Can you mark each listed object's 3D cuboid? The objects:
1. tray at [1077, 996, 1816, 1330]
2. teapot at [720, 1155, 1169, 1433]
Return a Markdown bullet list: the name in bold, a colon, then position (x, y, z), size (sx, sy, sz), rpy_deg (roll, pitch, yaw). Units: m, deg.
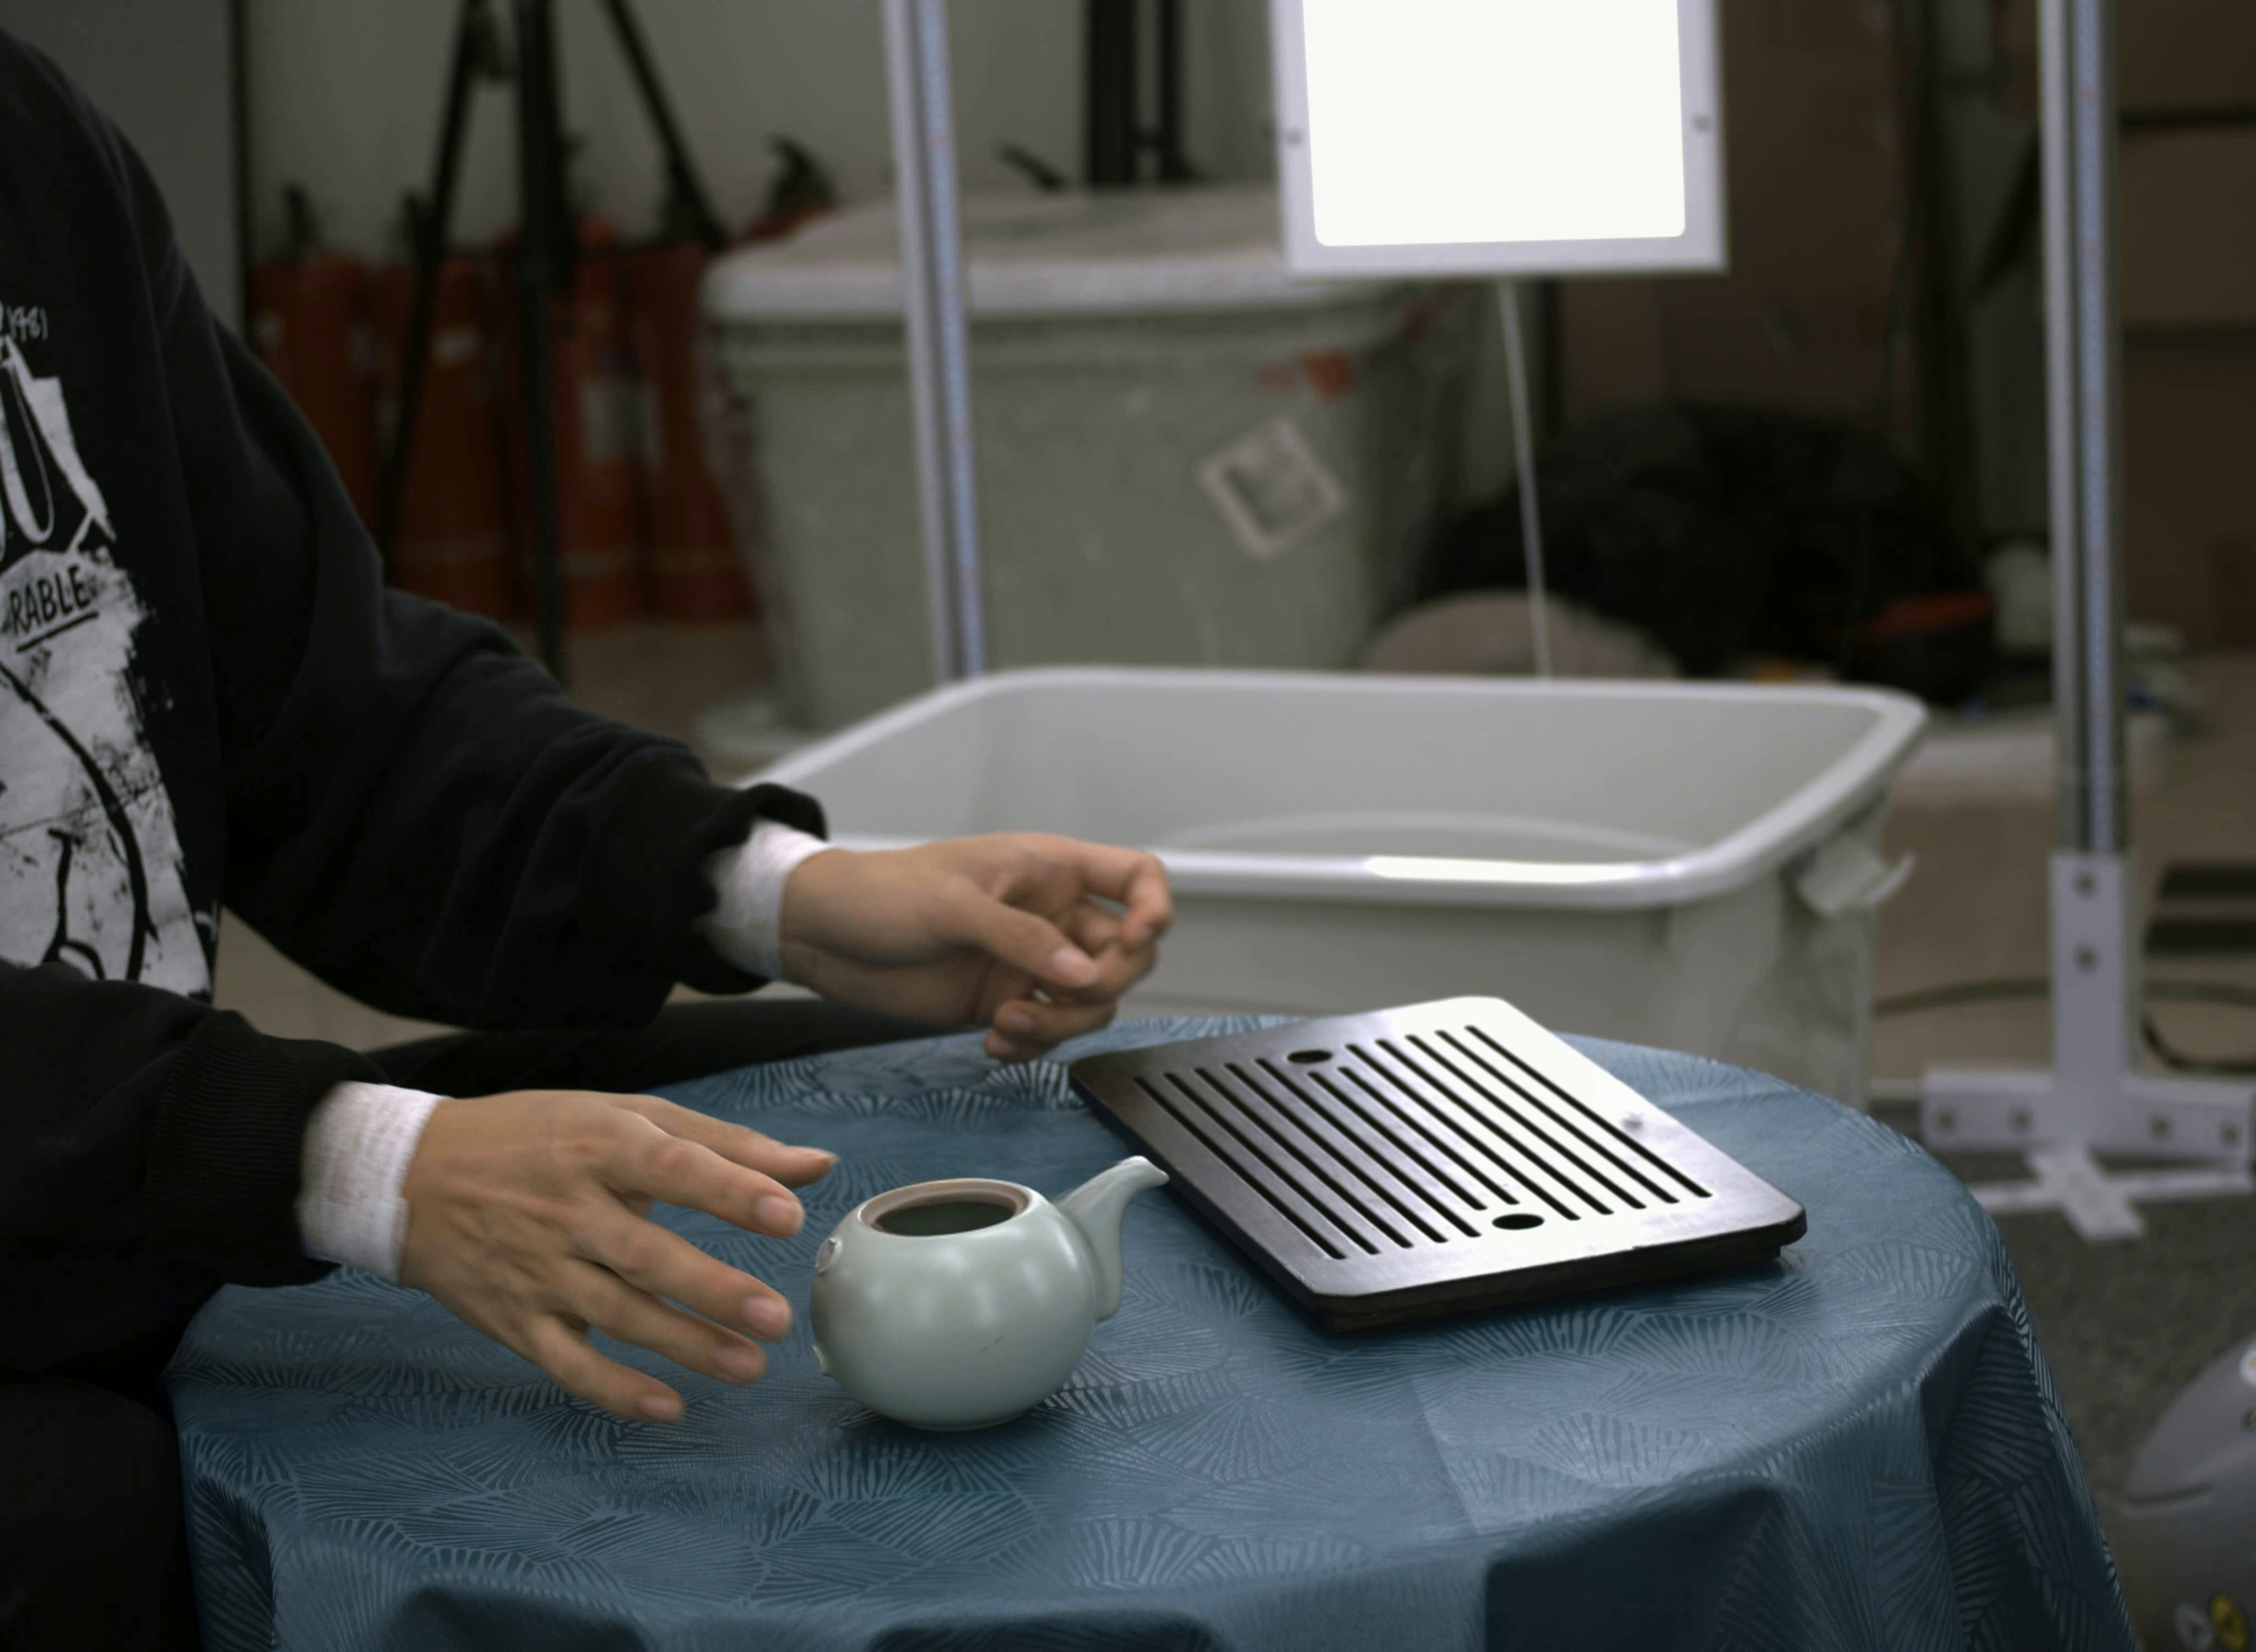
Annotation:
- **tray**: position (0.102, 0.112, 1.883), size (0.168, 0.019, 0.309), rpy_deg (-9, 14, -14)
- **teapot**: position (-0.054, 0.145, 1.692), size (0.142, 0.075, 0.089), rpy_deg (-7, 14, -12)
